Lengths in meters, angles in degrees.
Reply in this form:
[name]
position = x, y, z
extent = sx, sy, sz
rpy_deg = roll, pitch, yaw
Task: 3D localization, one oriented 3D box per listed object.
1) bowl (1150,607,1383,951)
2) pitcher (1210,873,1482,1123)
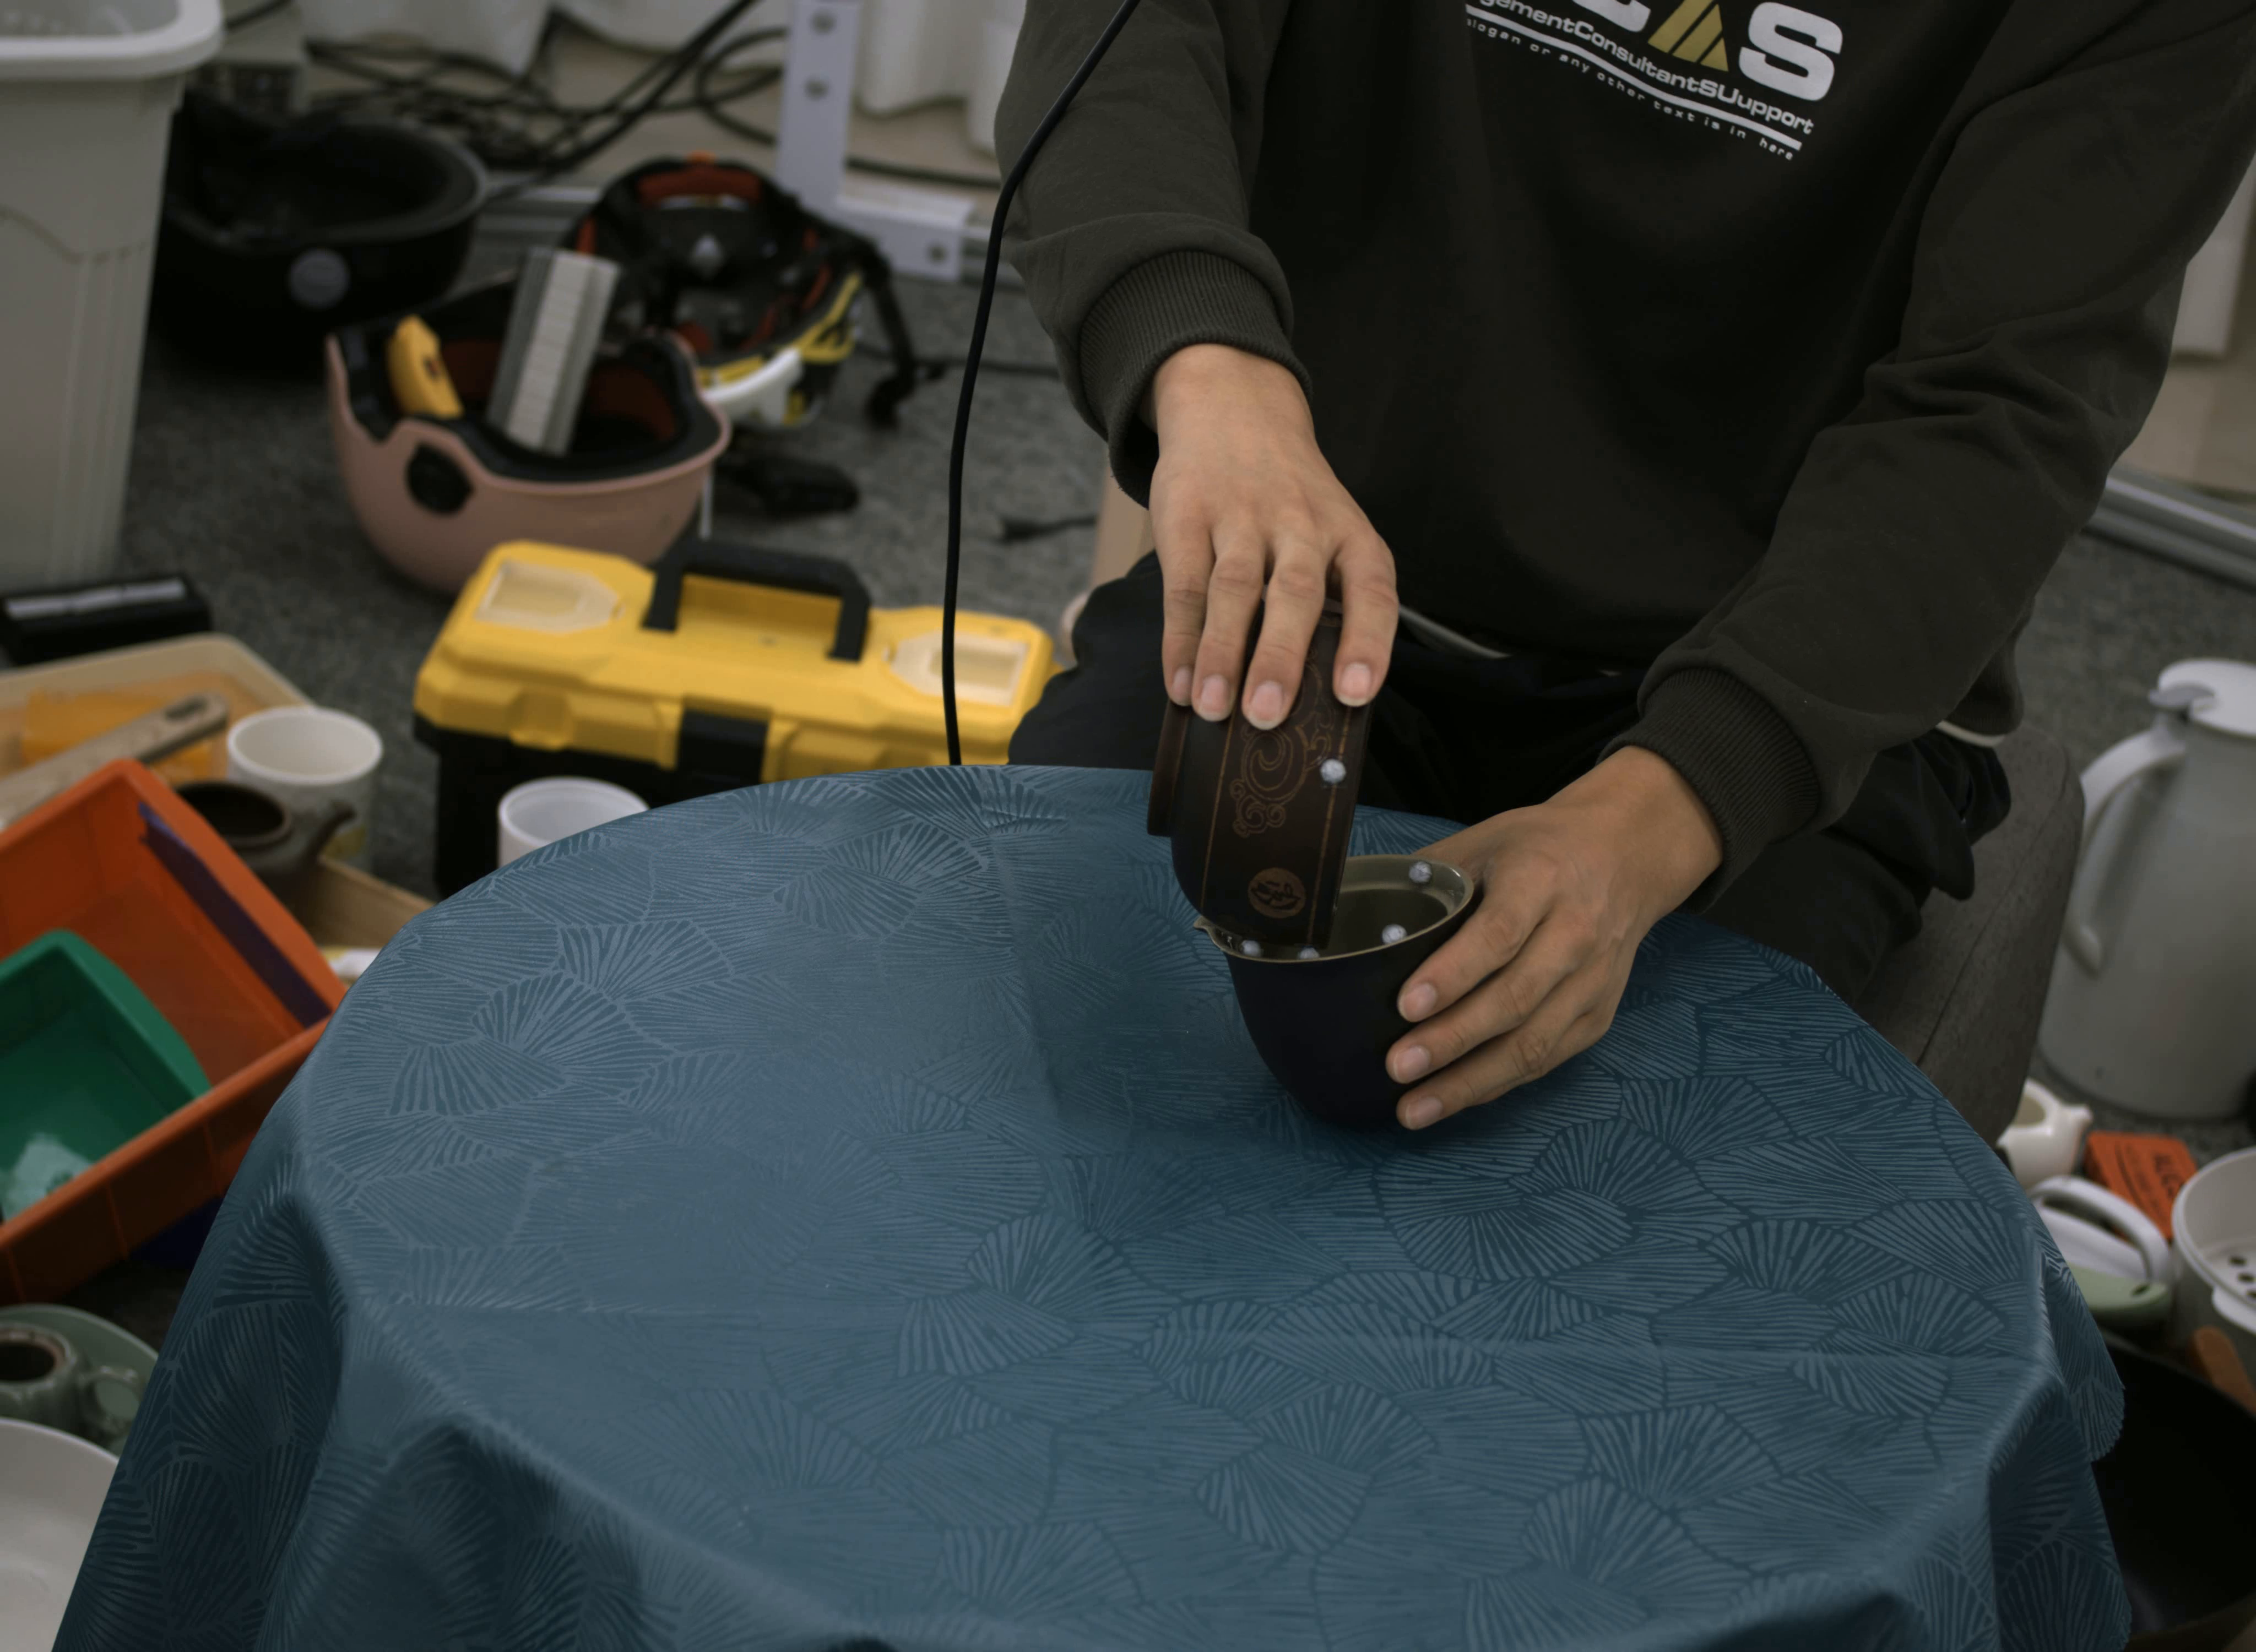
[bowl]
position = 0.046, -0.019, 1.834
extent = 0.070, 0.117, 0.118
rpy_deg = 8, 27, 3
[pitcher]
position = 0.080, 0.061, 1.858
extent = 0.096, 0.071, 0.084
rpy_deg = -4, 24, 29
